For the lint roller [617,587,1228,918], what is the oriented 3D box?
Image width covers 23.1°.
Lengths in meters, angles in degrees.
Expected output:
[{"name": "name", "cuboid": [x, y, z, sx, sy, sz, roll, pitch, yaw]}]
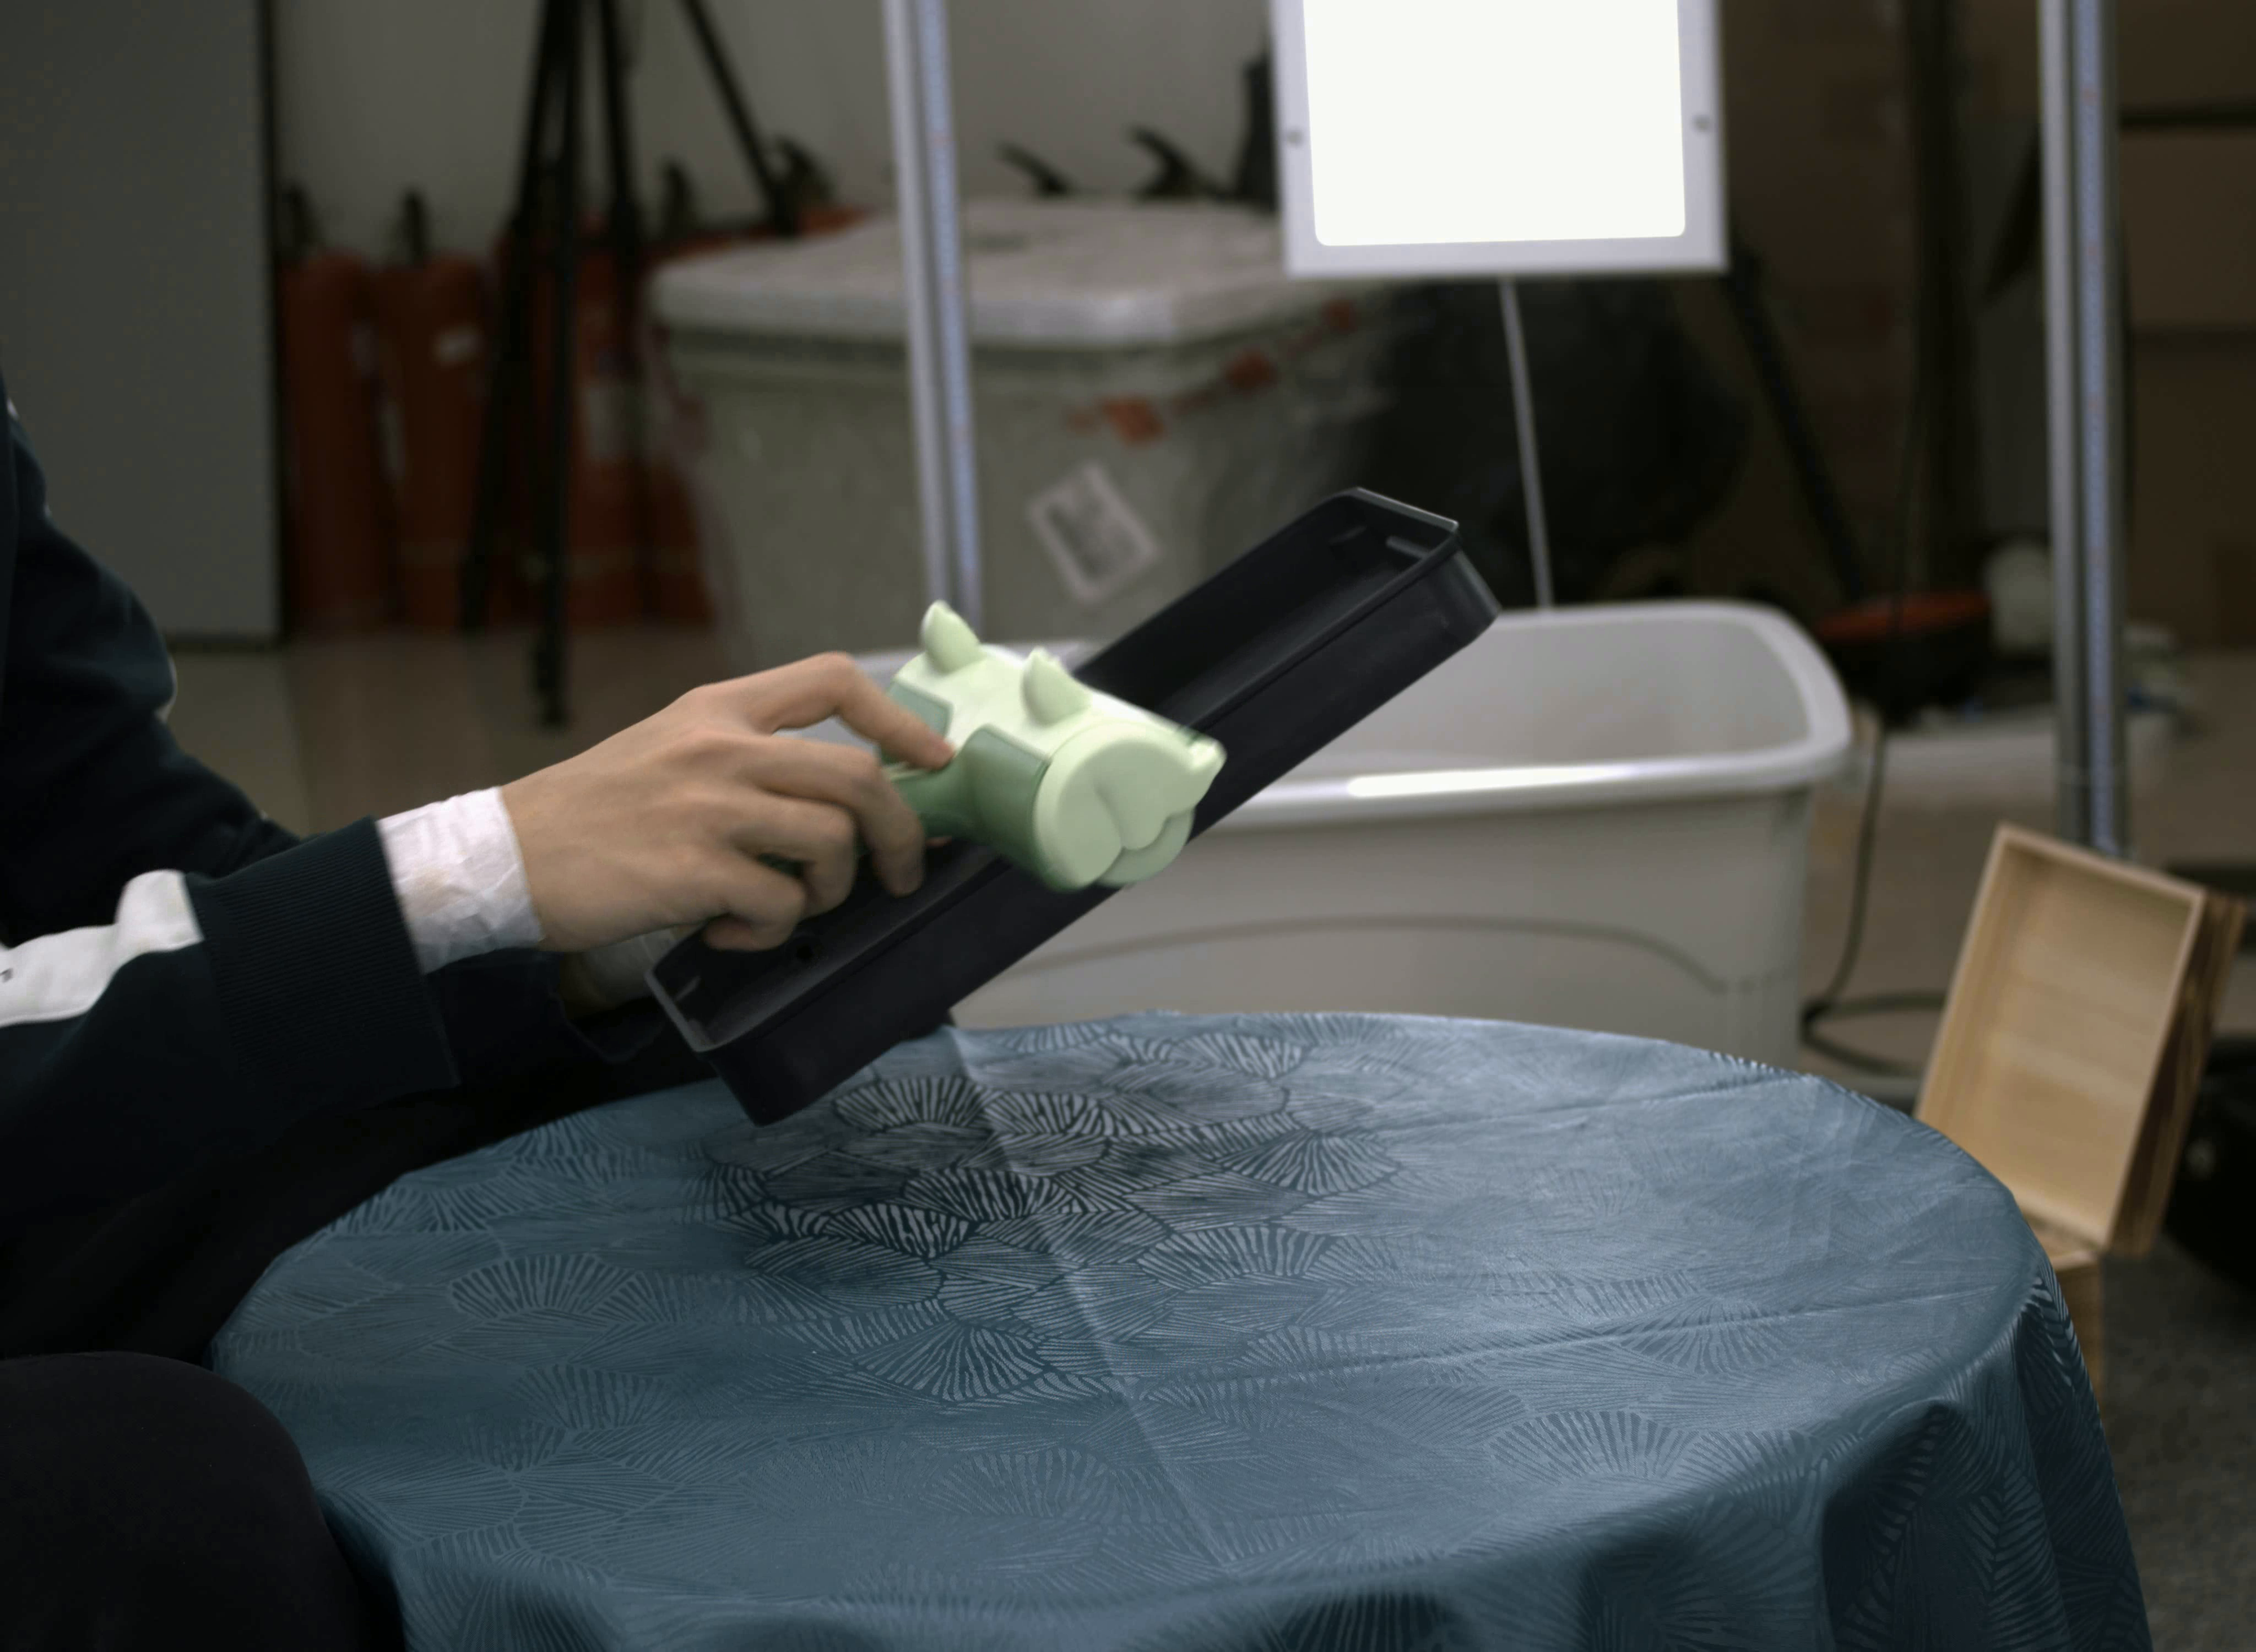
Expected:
[{"name": "lint roller", "cuboid": [-0.081, -0.023, 1.790, 0.181, 0.082, 0.201, -10, 12, -14]}]

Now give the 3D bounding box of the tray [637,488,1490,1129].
[{"name": "tray", "cuboid": [-0.025, -0.010, 1.932, 0.317, 0.037, 0.185, -35, 13, -2]}]
